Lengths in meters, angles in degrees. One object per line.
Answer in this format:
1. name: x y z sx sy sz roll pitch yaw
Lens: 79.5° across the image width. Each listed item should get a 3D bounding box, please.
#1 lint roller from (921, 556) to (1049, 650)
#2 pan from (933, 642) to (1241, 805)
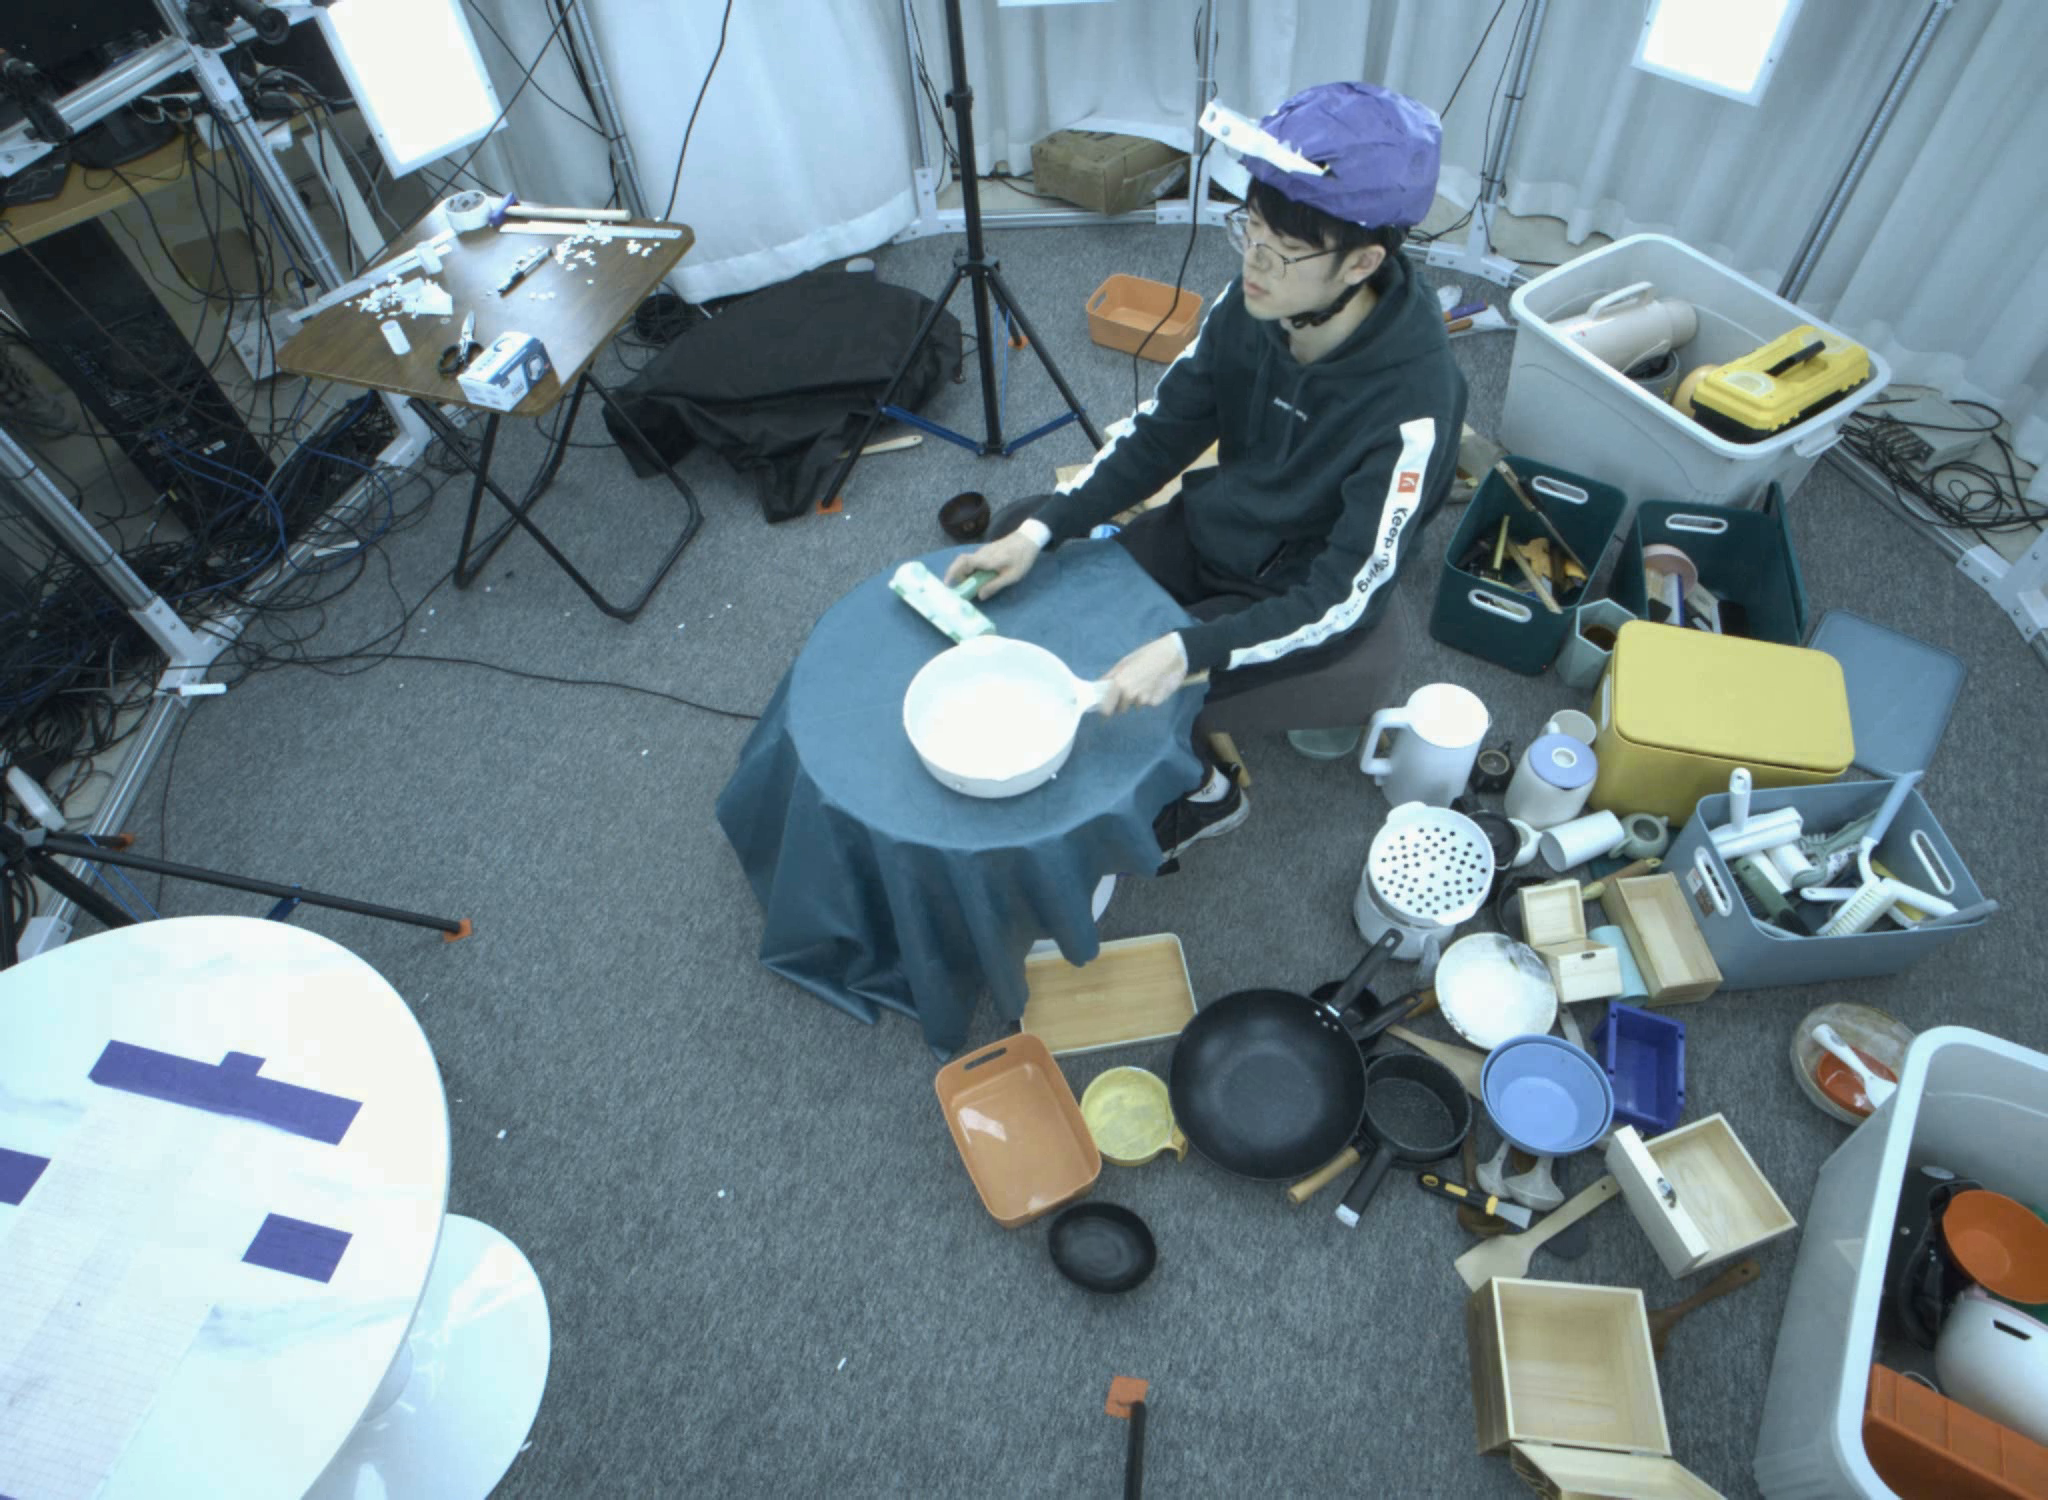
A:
1. lint roller: -0.037 -0.262 1.913 0.184 0.083 0.195 -41 62 -12
2. pan: 0.090 -0.046 1.751 0.436 0.103 0.260 -7 53 -3
